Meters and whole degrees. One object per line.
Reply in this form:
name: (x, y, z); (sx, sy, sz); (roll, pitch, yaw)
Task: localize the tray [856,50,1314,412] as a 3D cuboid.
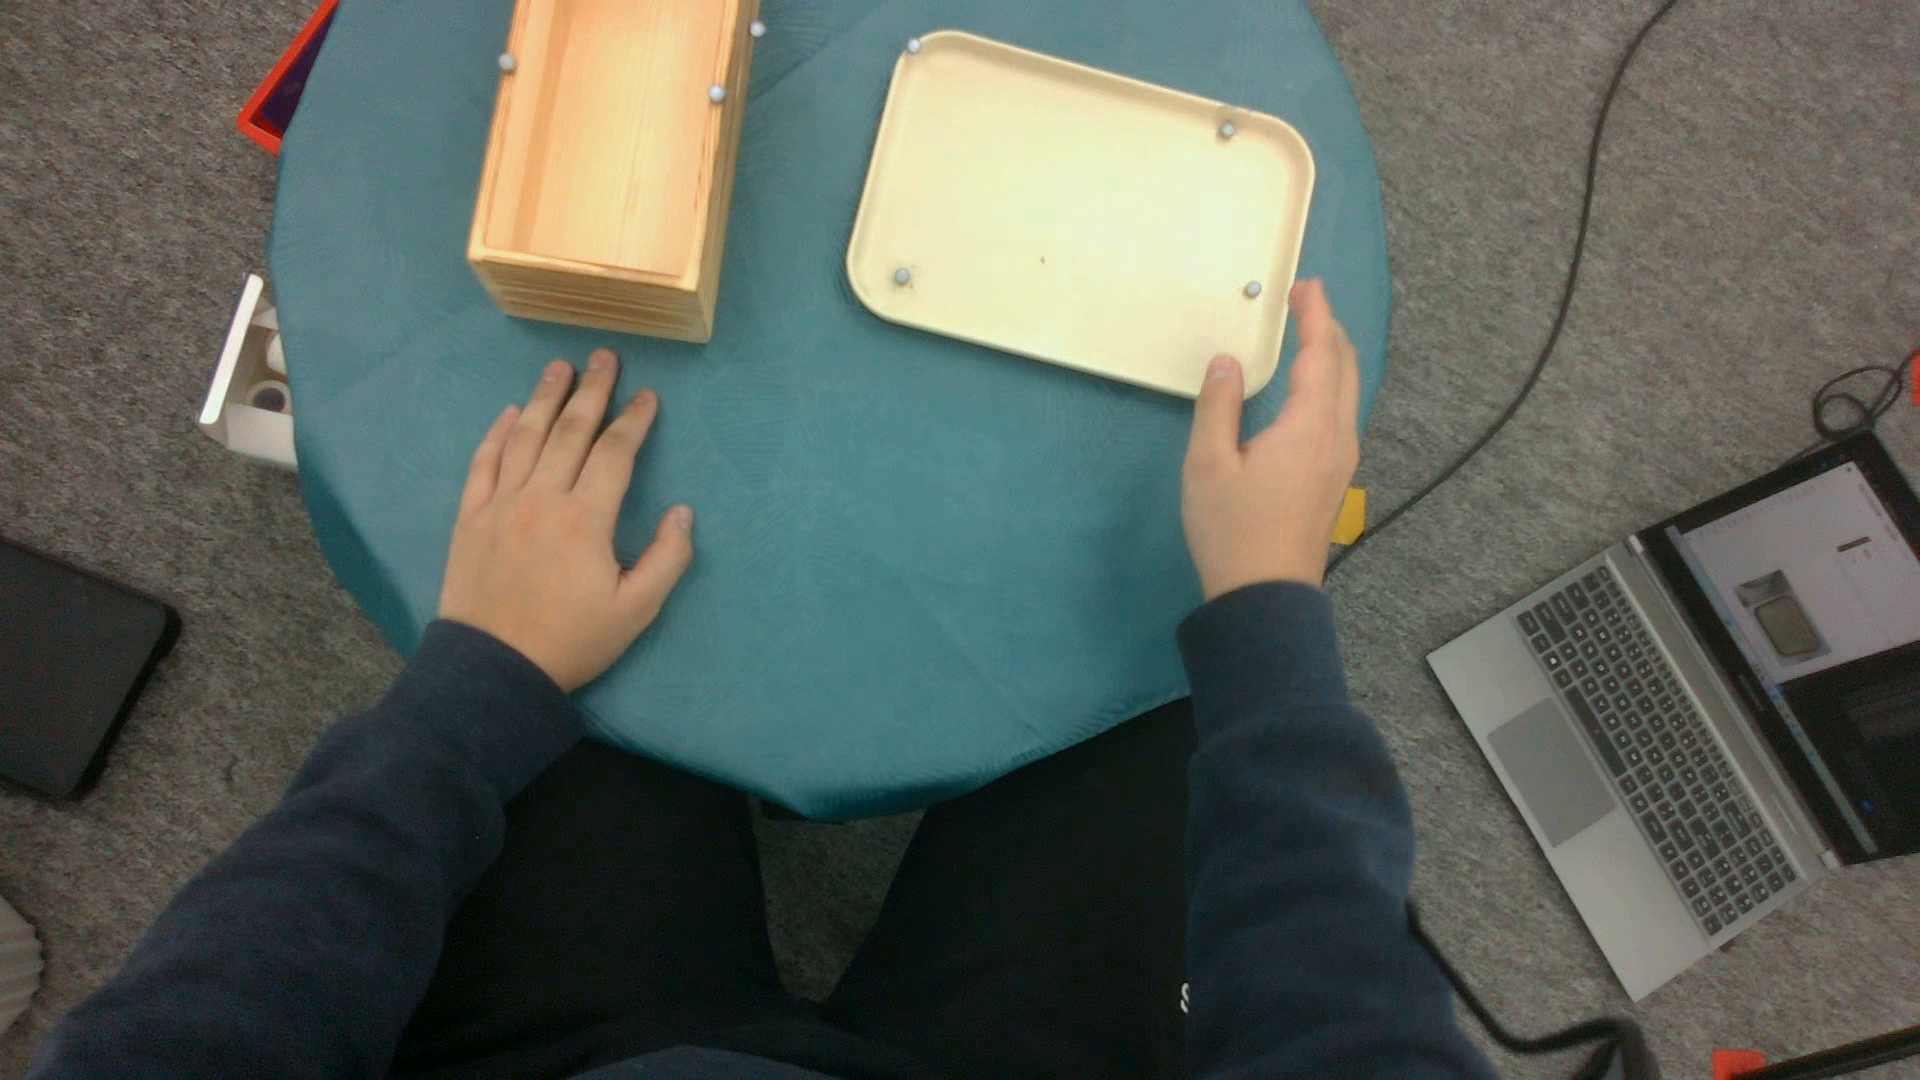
tray: (0.071, -0.171, 0.767); (0.240, 0.017, 0.171); (14, 78, -3)

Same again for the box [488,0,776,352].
box: (-0.165, -0.216, 0.719); (0.107, 0.080, 0.212); (7, 78, -4)
